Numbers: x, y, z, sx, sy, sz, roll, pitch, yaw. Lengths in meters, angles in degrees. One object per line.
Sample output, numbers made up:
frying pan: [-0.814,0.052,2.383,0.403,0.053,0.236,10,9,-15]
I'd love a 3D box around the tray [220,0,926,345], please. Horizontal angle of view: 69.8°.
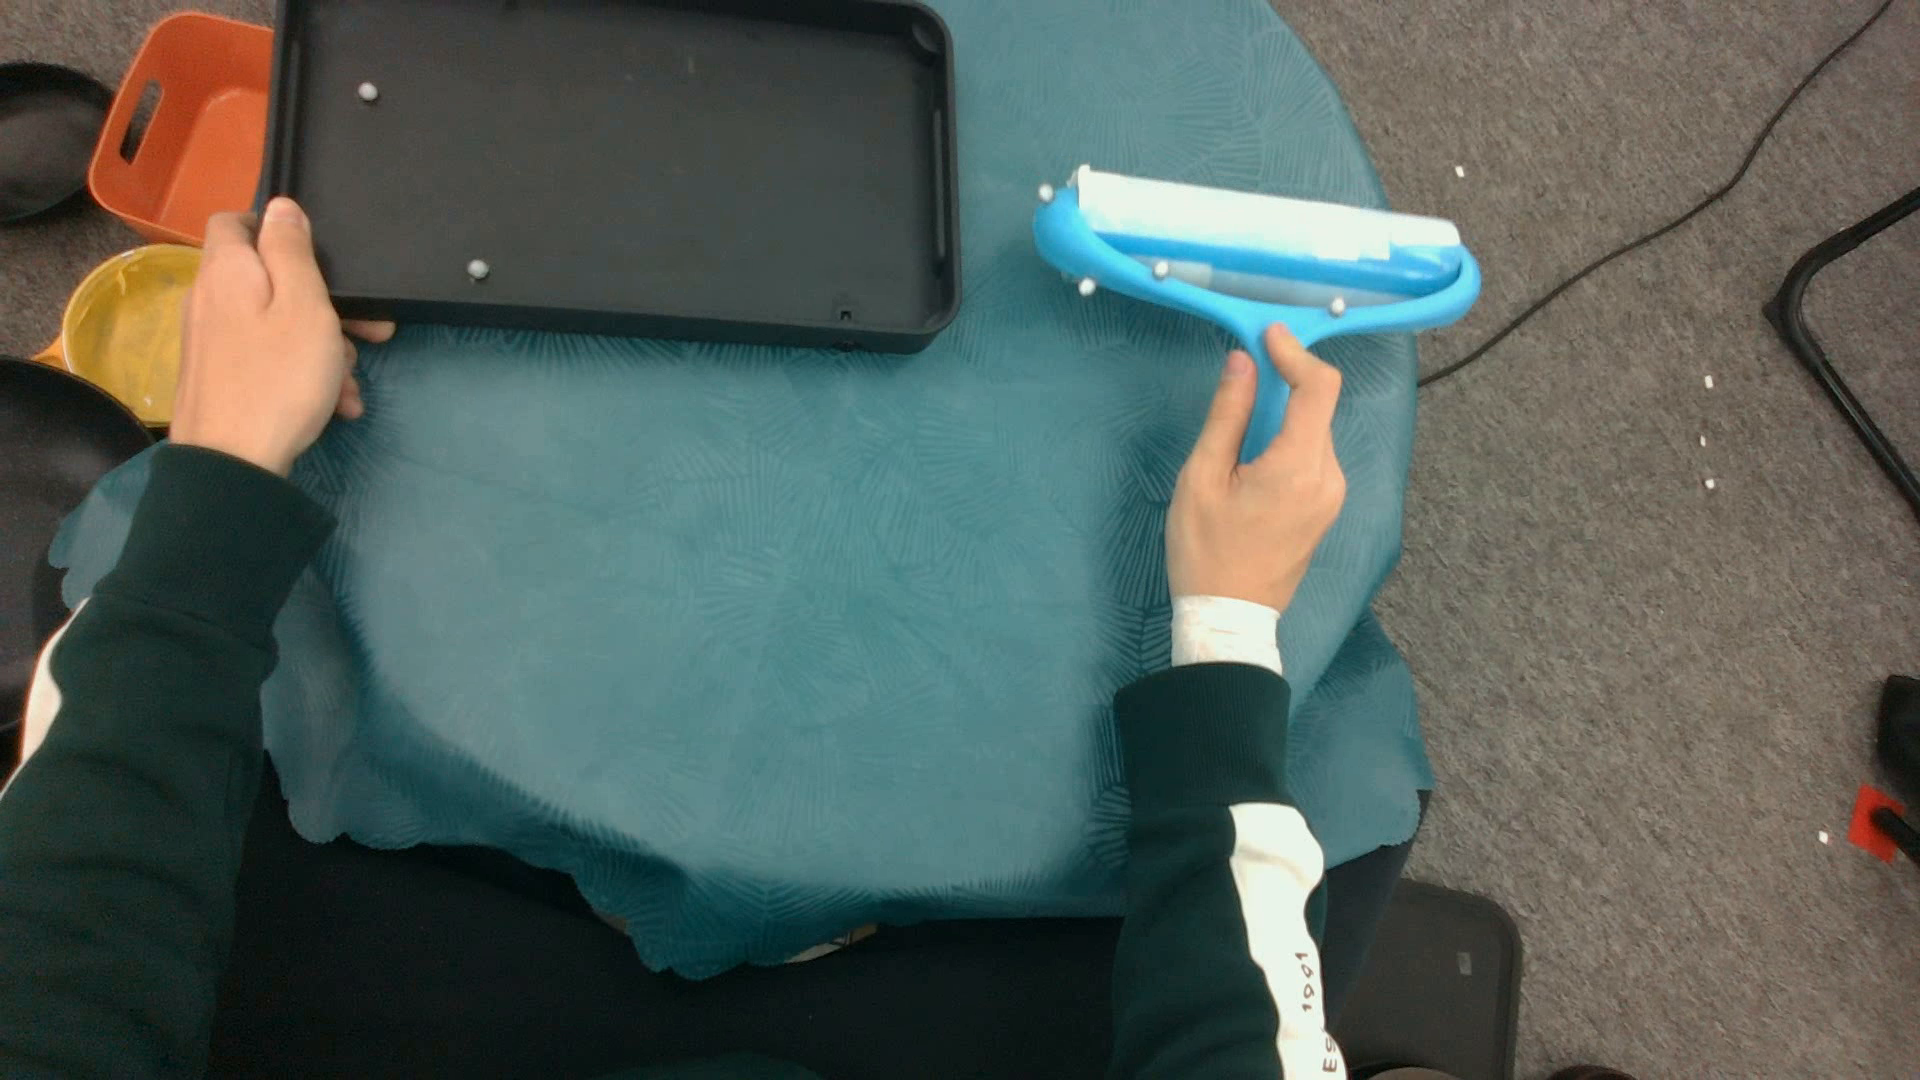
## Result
tray: [-0.179,-0.187,0.673,0.318,0.037,0.184,-1,77,-17]

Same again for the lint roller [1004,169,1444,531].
lint roller: [0.137,-0.099,0.689,0.229,0.067,0.181,2,71,-9]
